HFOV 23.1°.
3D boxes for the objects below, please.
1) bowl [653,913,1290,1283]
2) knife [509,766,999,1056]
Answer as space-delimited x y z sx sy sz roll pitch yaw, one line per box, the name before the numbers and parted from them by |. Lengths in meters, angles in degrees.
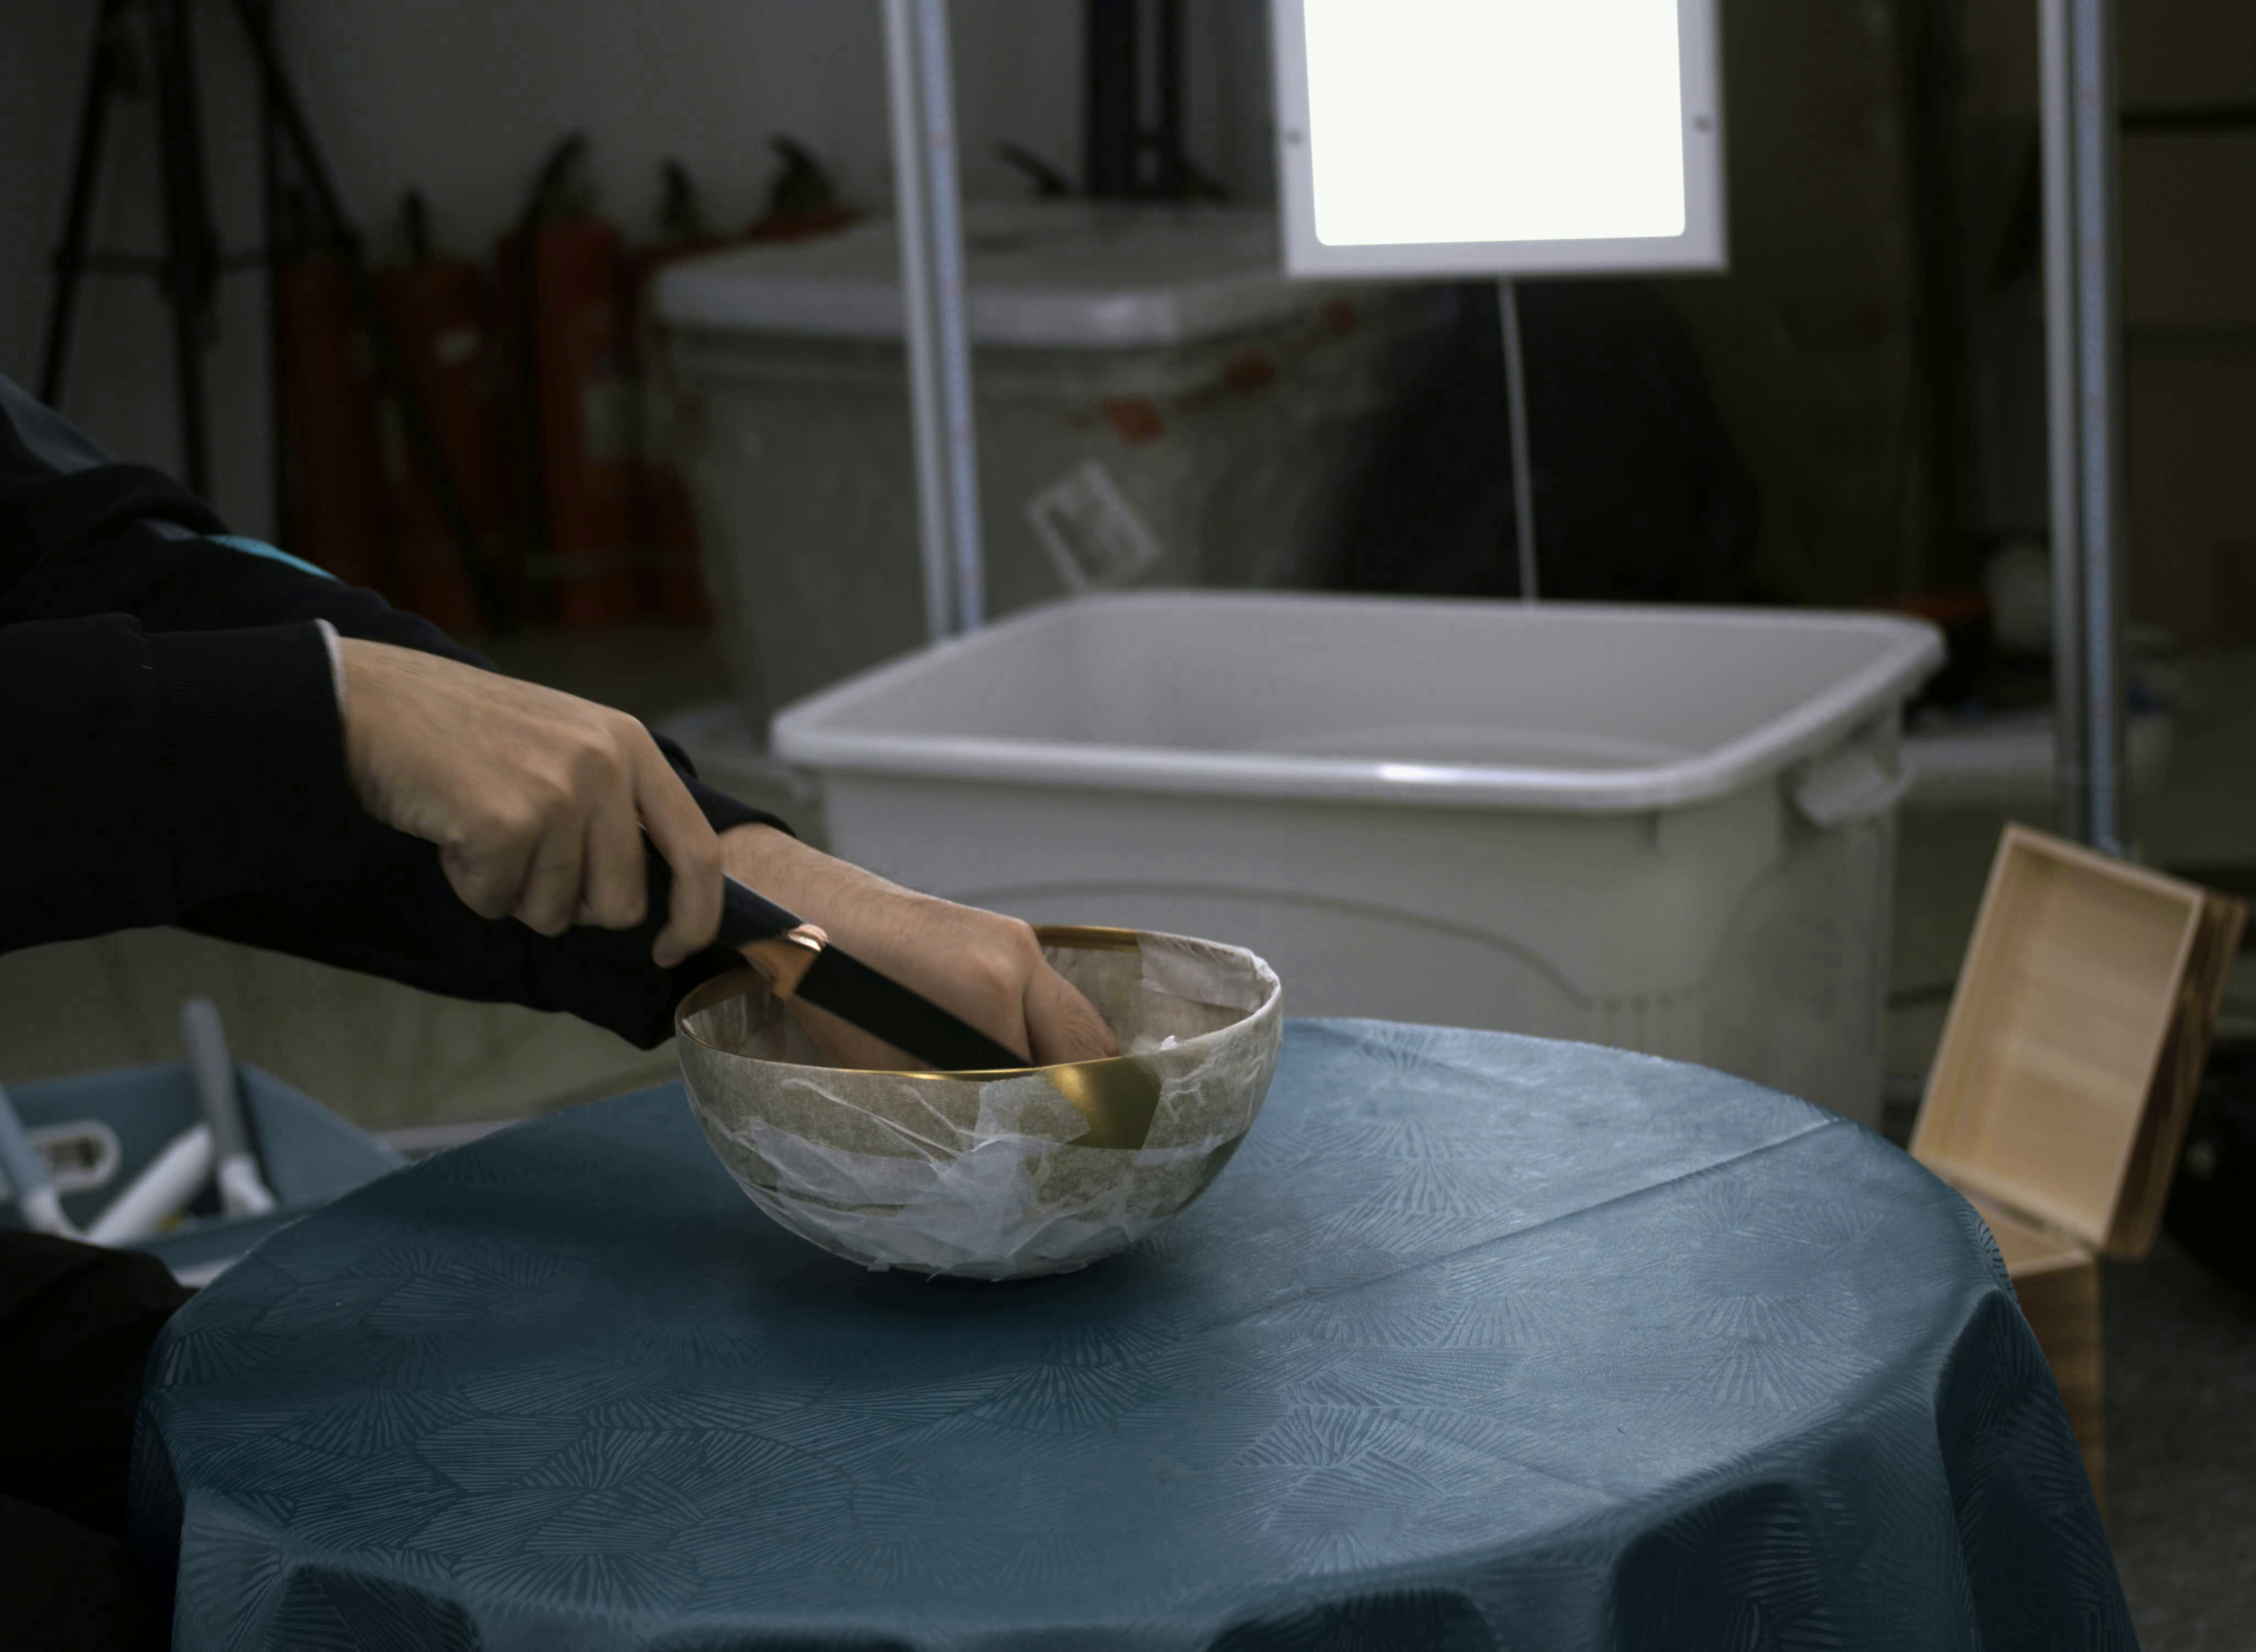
bowl | -0.050 0.097 1.831 0.214 0.095 0.214 -4 13 0
knife | -0.105 0.043 1.791 0.223 0.026 0.017 31 14 -11
